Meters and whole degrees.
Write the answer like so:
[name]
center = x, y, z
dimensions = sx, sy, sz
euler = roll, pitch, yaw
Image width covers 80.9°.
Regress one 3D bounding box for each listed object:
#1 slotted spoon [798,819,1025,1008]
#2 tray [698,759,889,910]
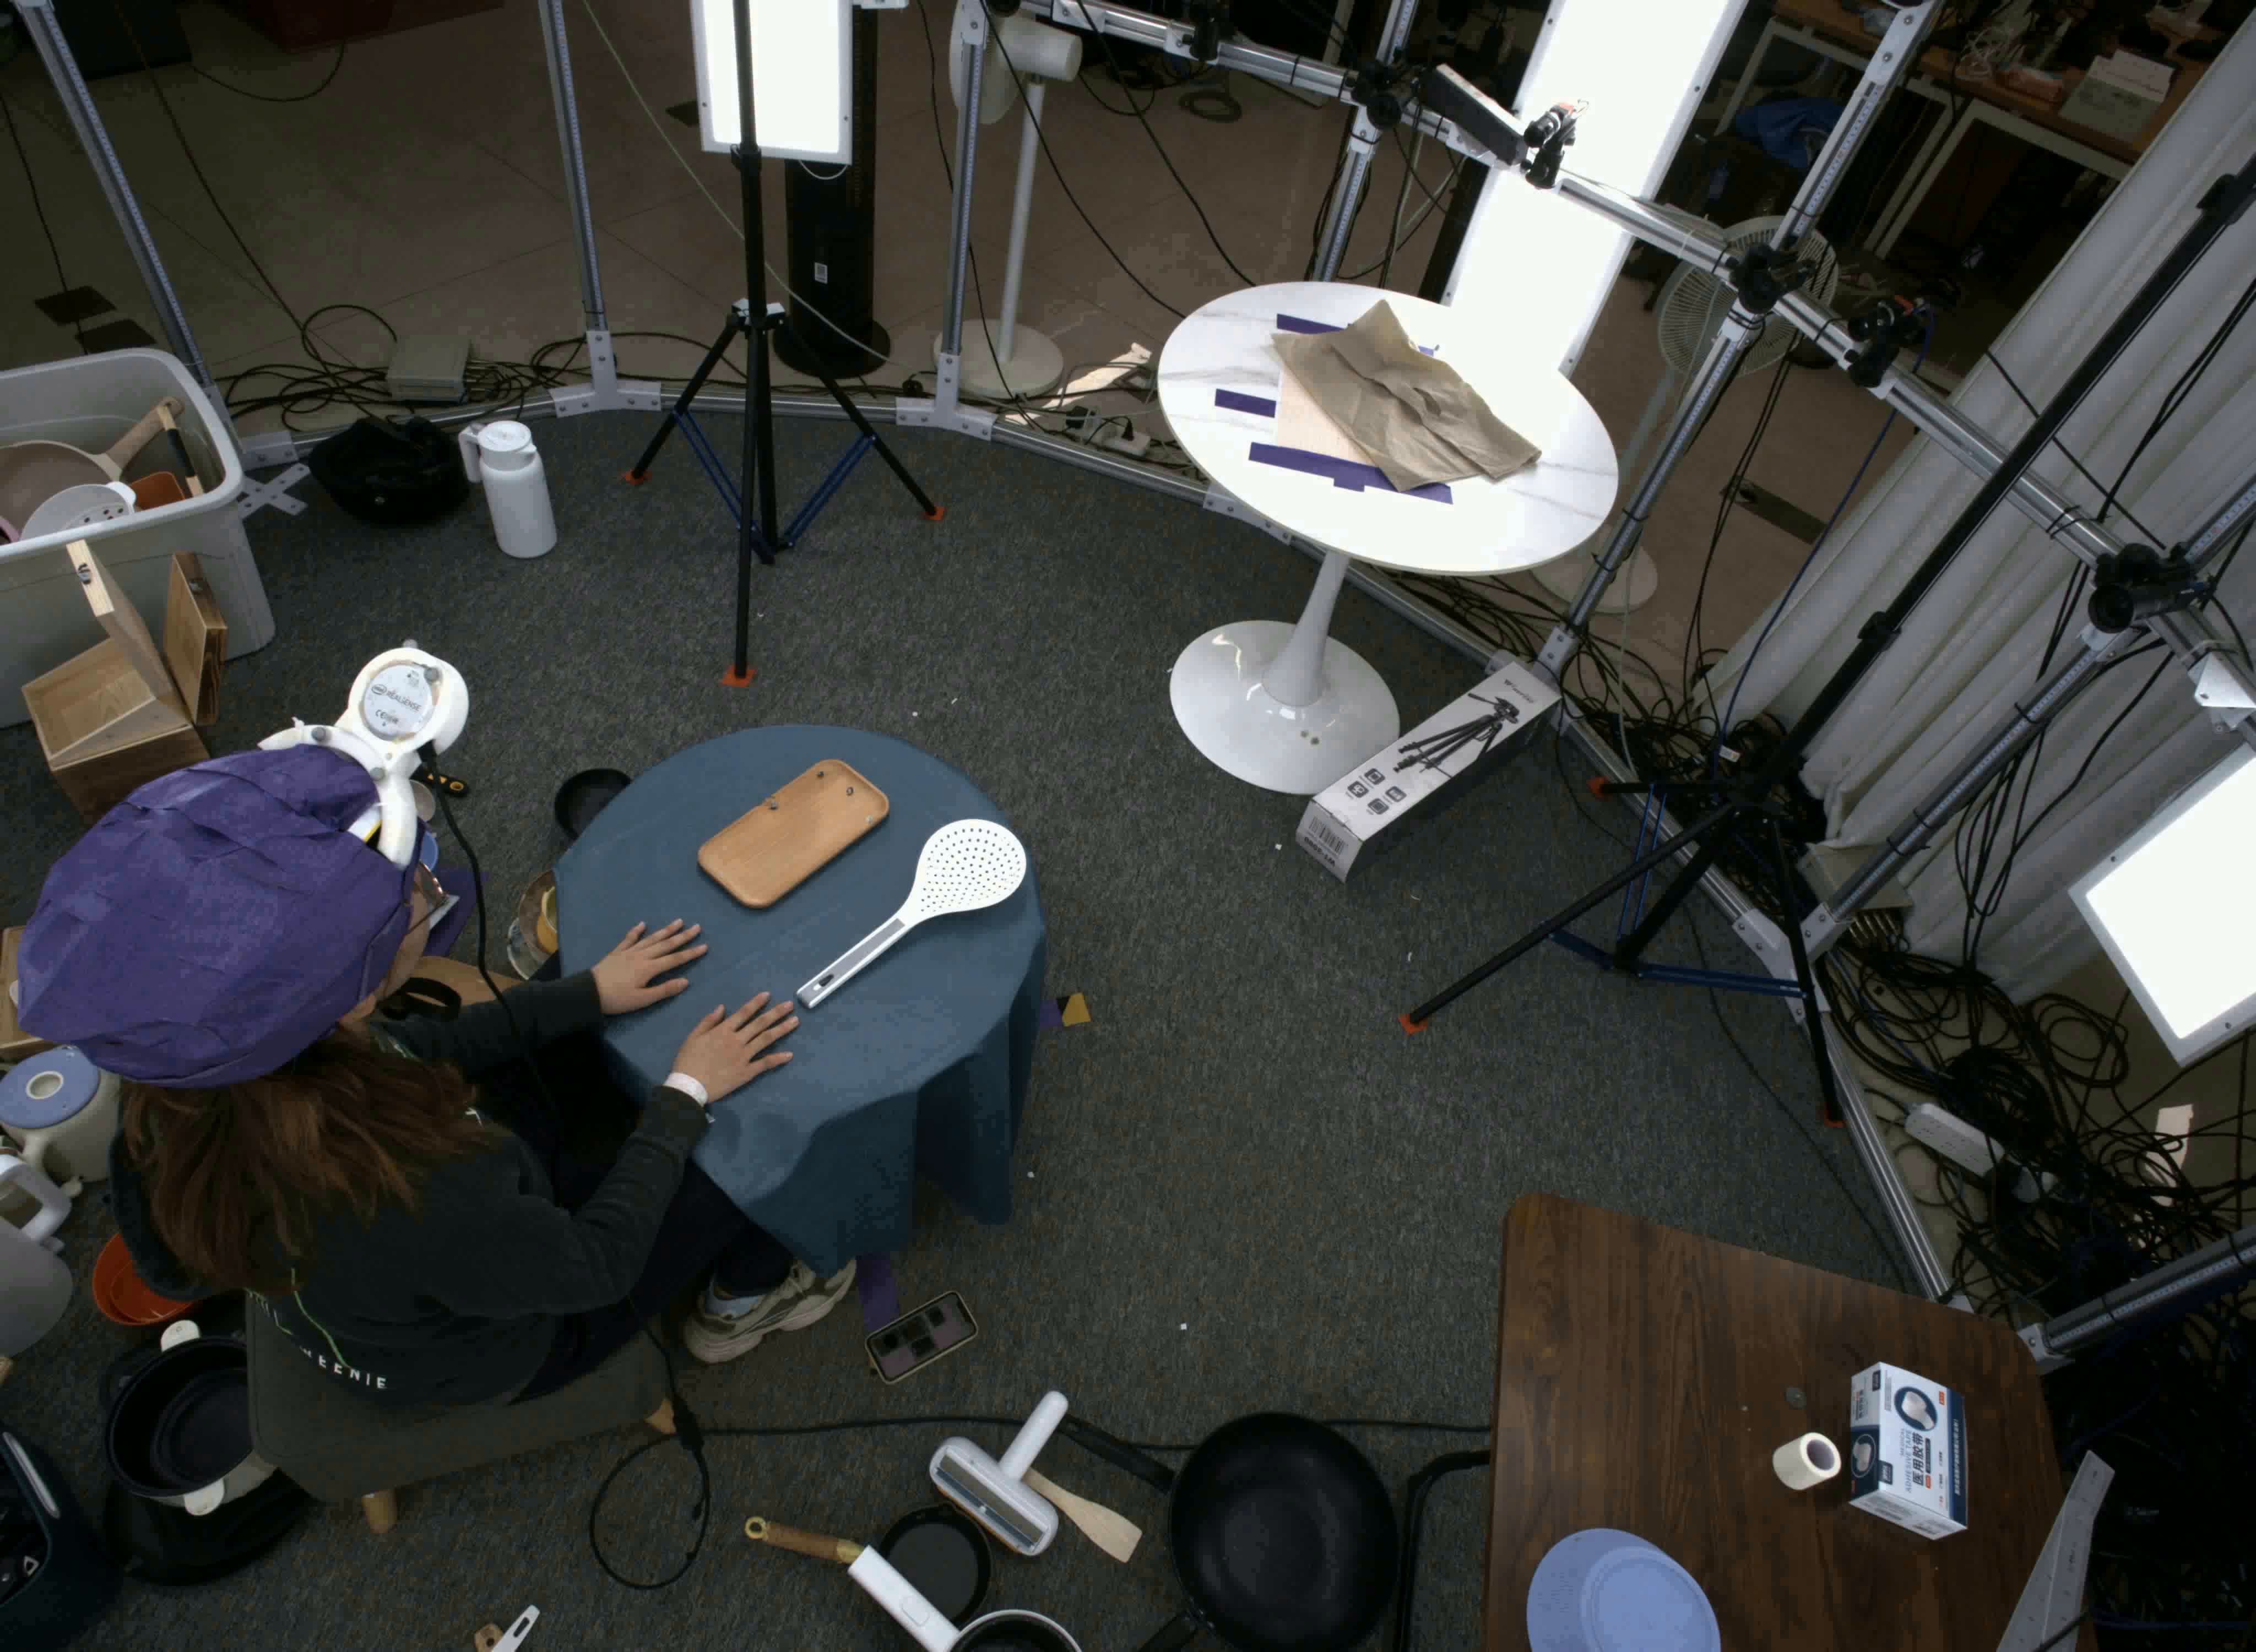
[slotted spoon]
center = -0.276, 0.111, 1.655
dimensions = 0.133, 0.047, 0.350
euler = 39, 55, 19
[tray]
center = -0.438, 0.008, 1.709
dimensions = 0.127, 0.023, 0.251
euler = 37, 55, 16
